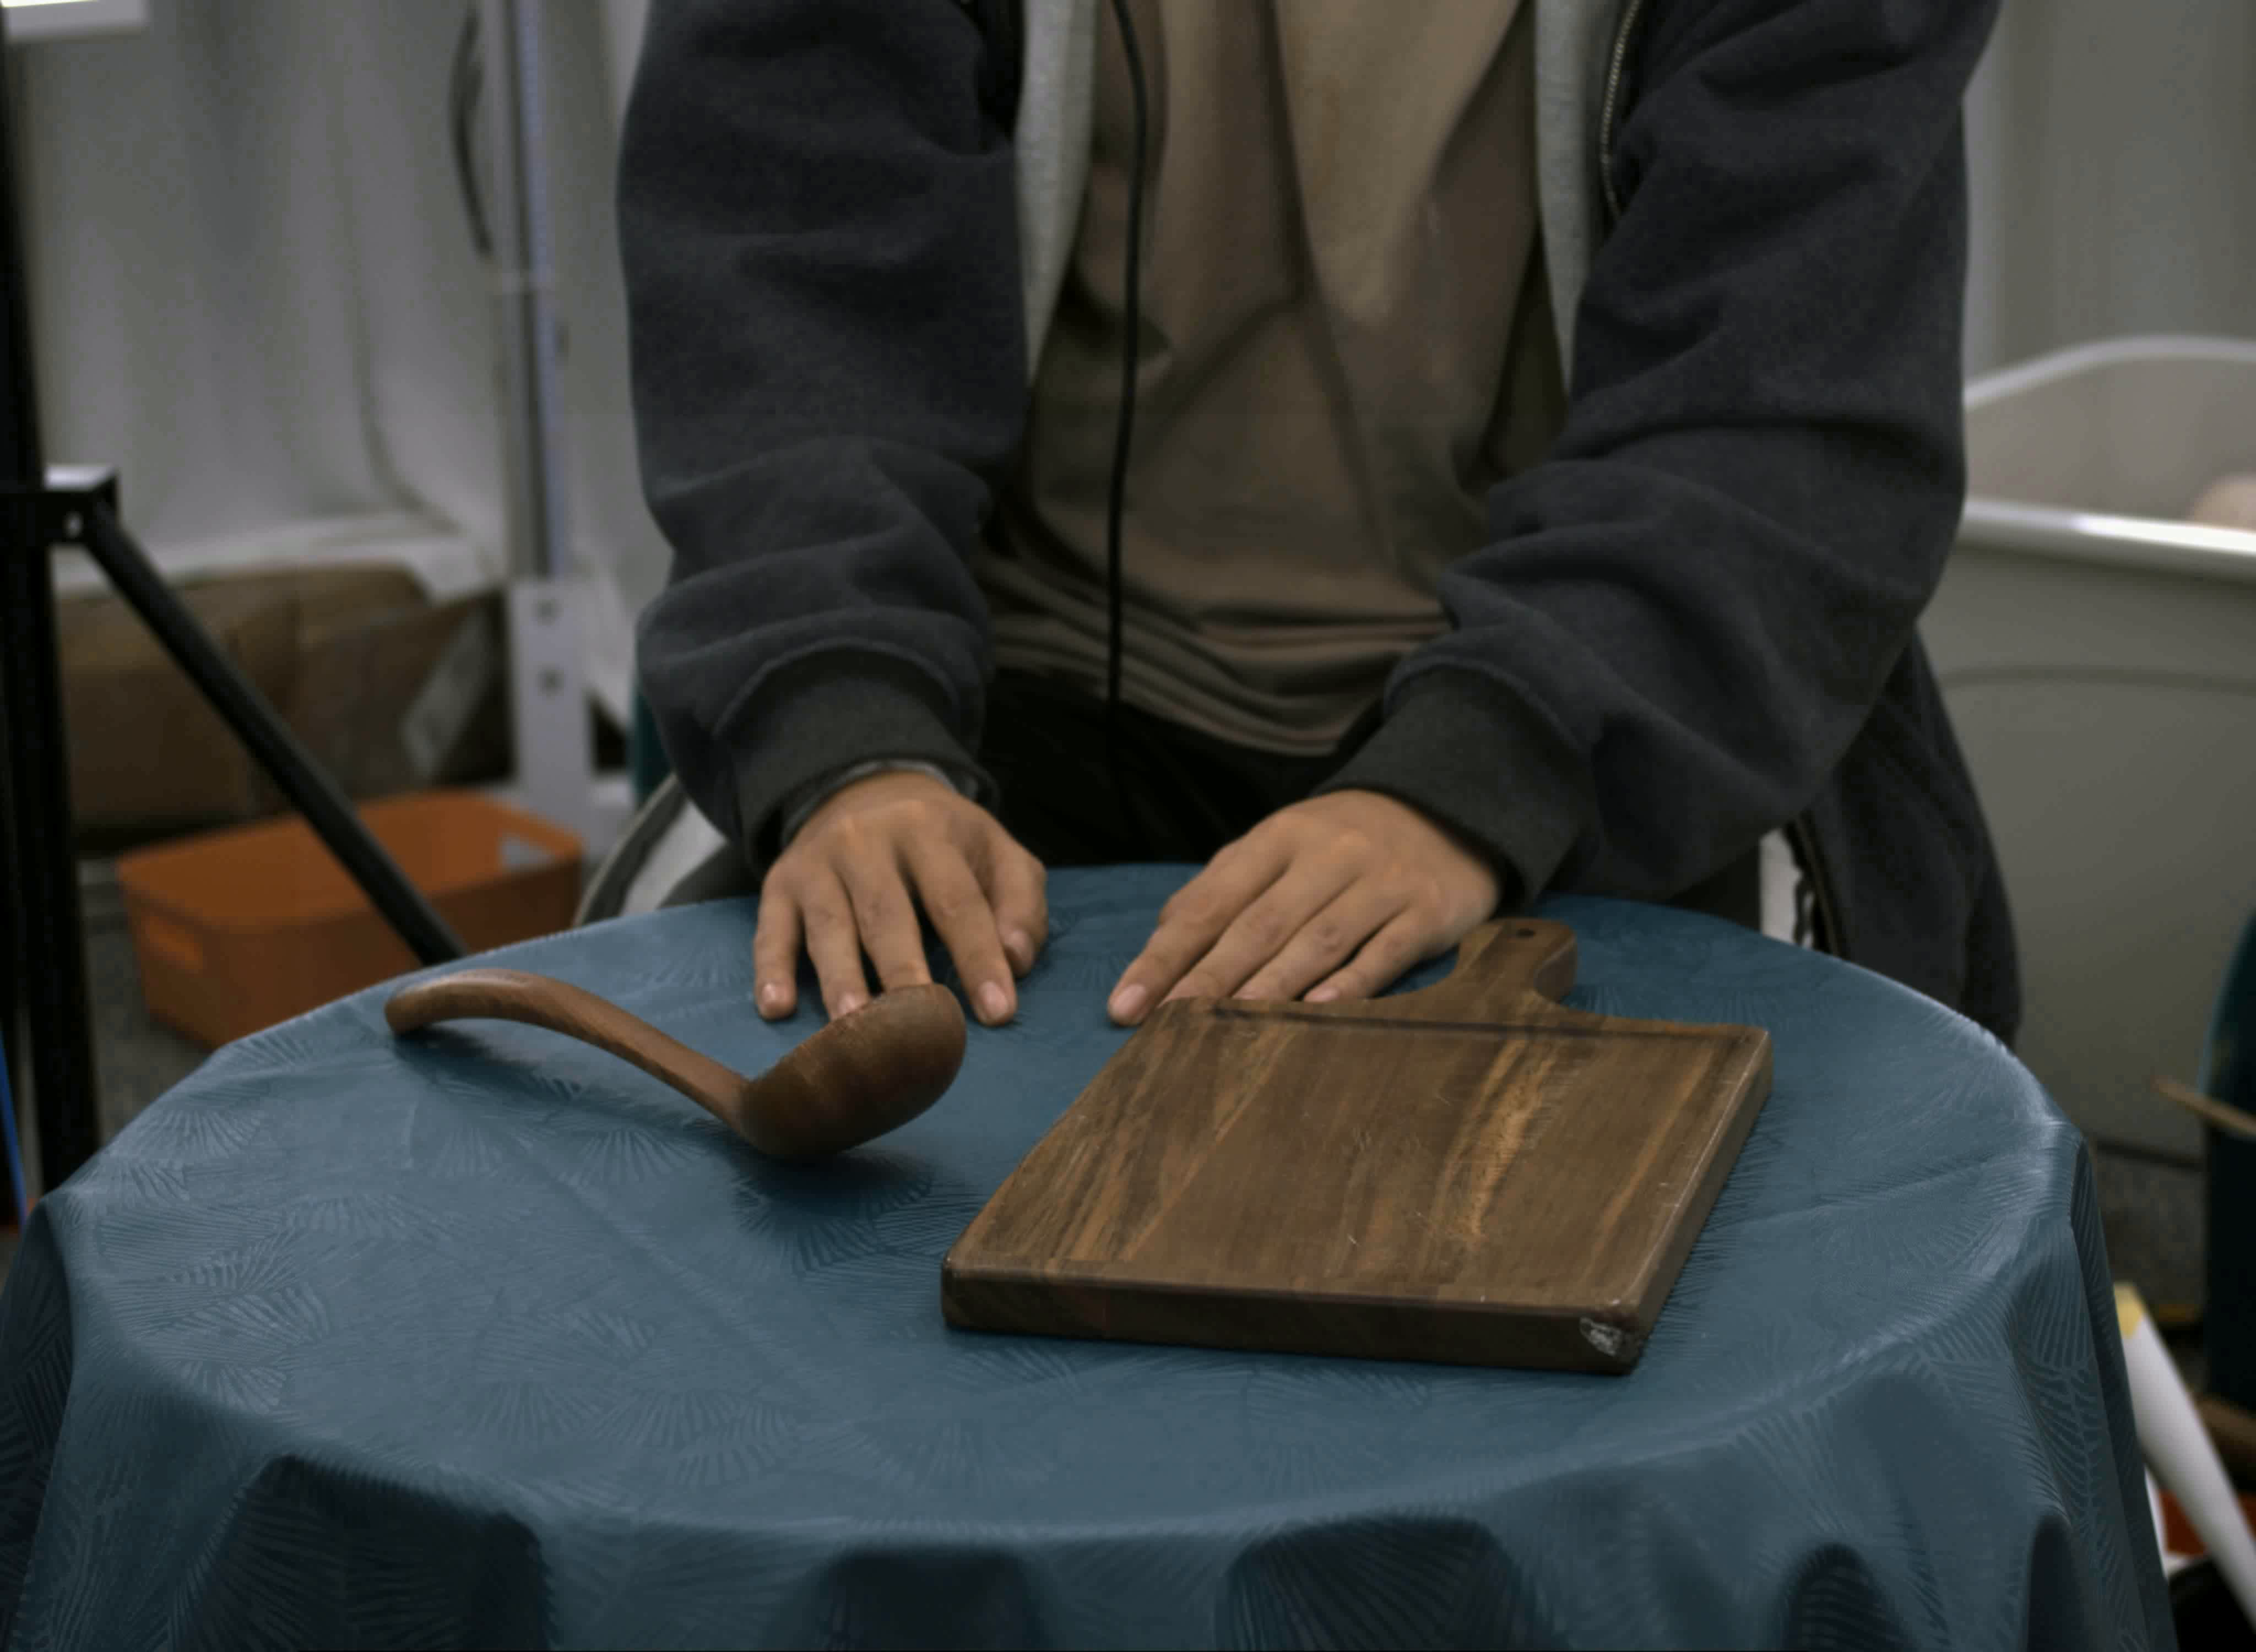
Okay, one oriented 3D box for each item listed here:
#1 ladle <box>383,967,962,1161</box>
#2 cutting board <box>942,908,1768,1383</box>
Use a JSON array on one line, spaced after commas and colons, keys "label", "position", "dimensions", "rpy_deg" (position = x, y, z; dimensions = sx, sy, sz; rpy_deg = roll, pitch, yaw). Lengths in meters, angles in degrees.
[{"label": "ladle", "position": [-0.150, 0.056, 1.650], "dimensions": [0.074, 0.065, 0.266], "rpy_deg": [-10, 17, -41]}, {"label": "cutting board", "position": [0.085, 0.086, 1.583], "dimensions": [0.203, 0.023, 0.349], "rpy_deg": [3, 17, 15]}]
